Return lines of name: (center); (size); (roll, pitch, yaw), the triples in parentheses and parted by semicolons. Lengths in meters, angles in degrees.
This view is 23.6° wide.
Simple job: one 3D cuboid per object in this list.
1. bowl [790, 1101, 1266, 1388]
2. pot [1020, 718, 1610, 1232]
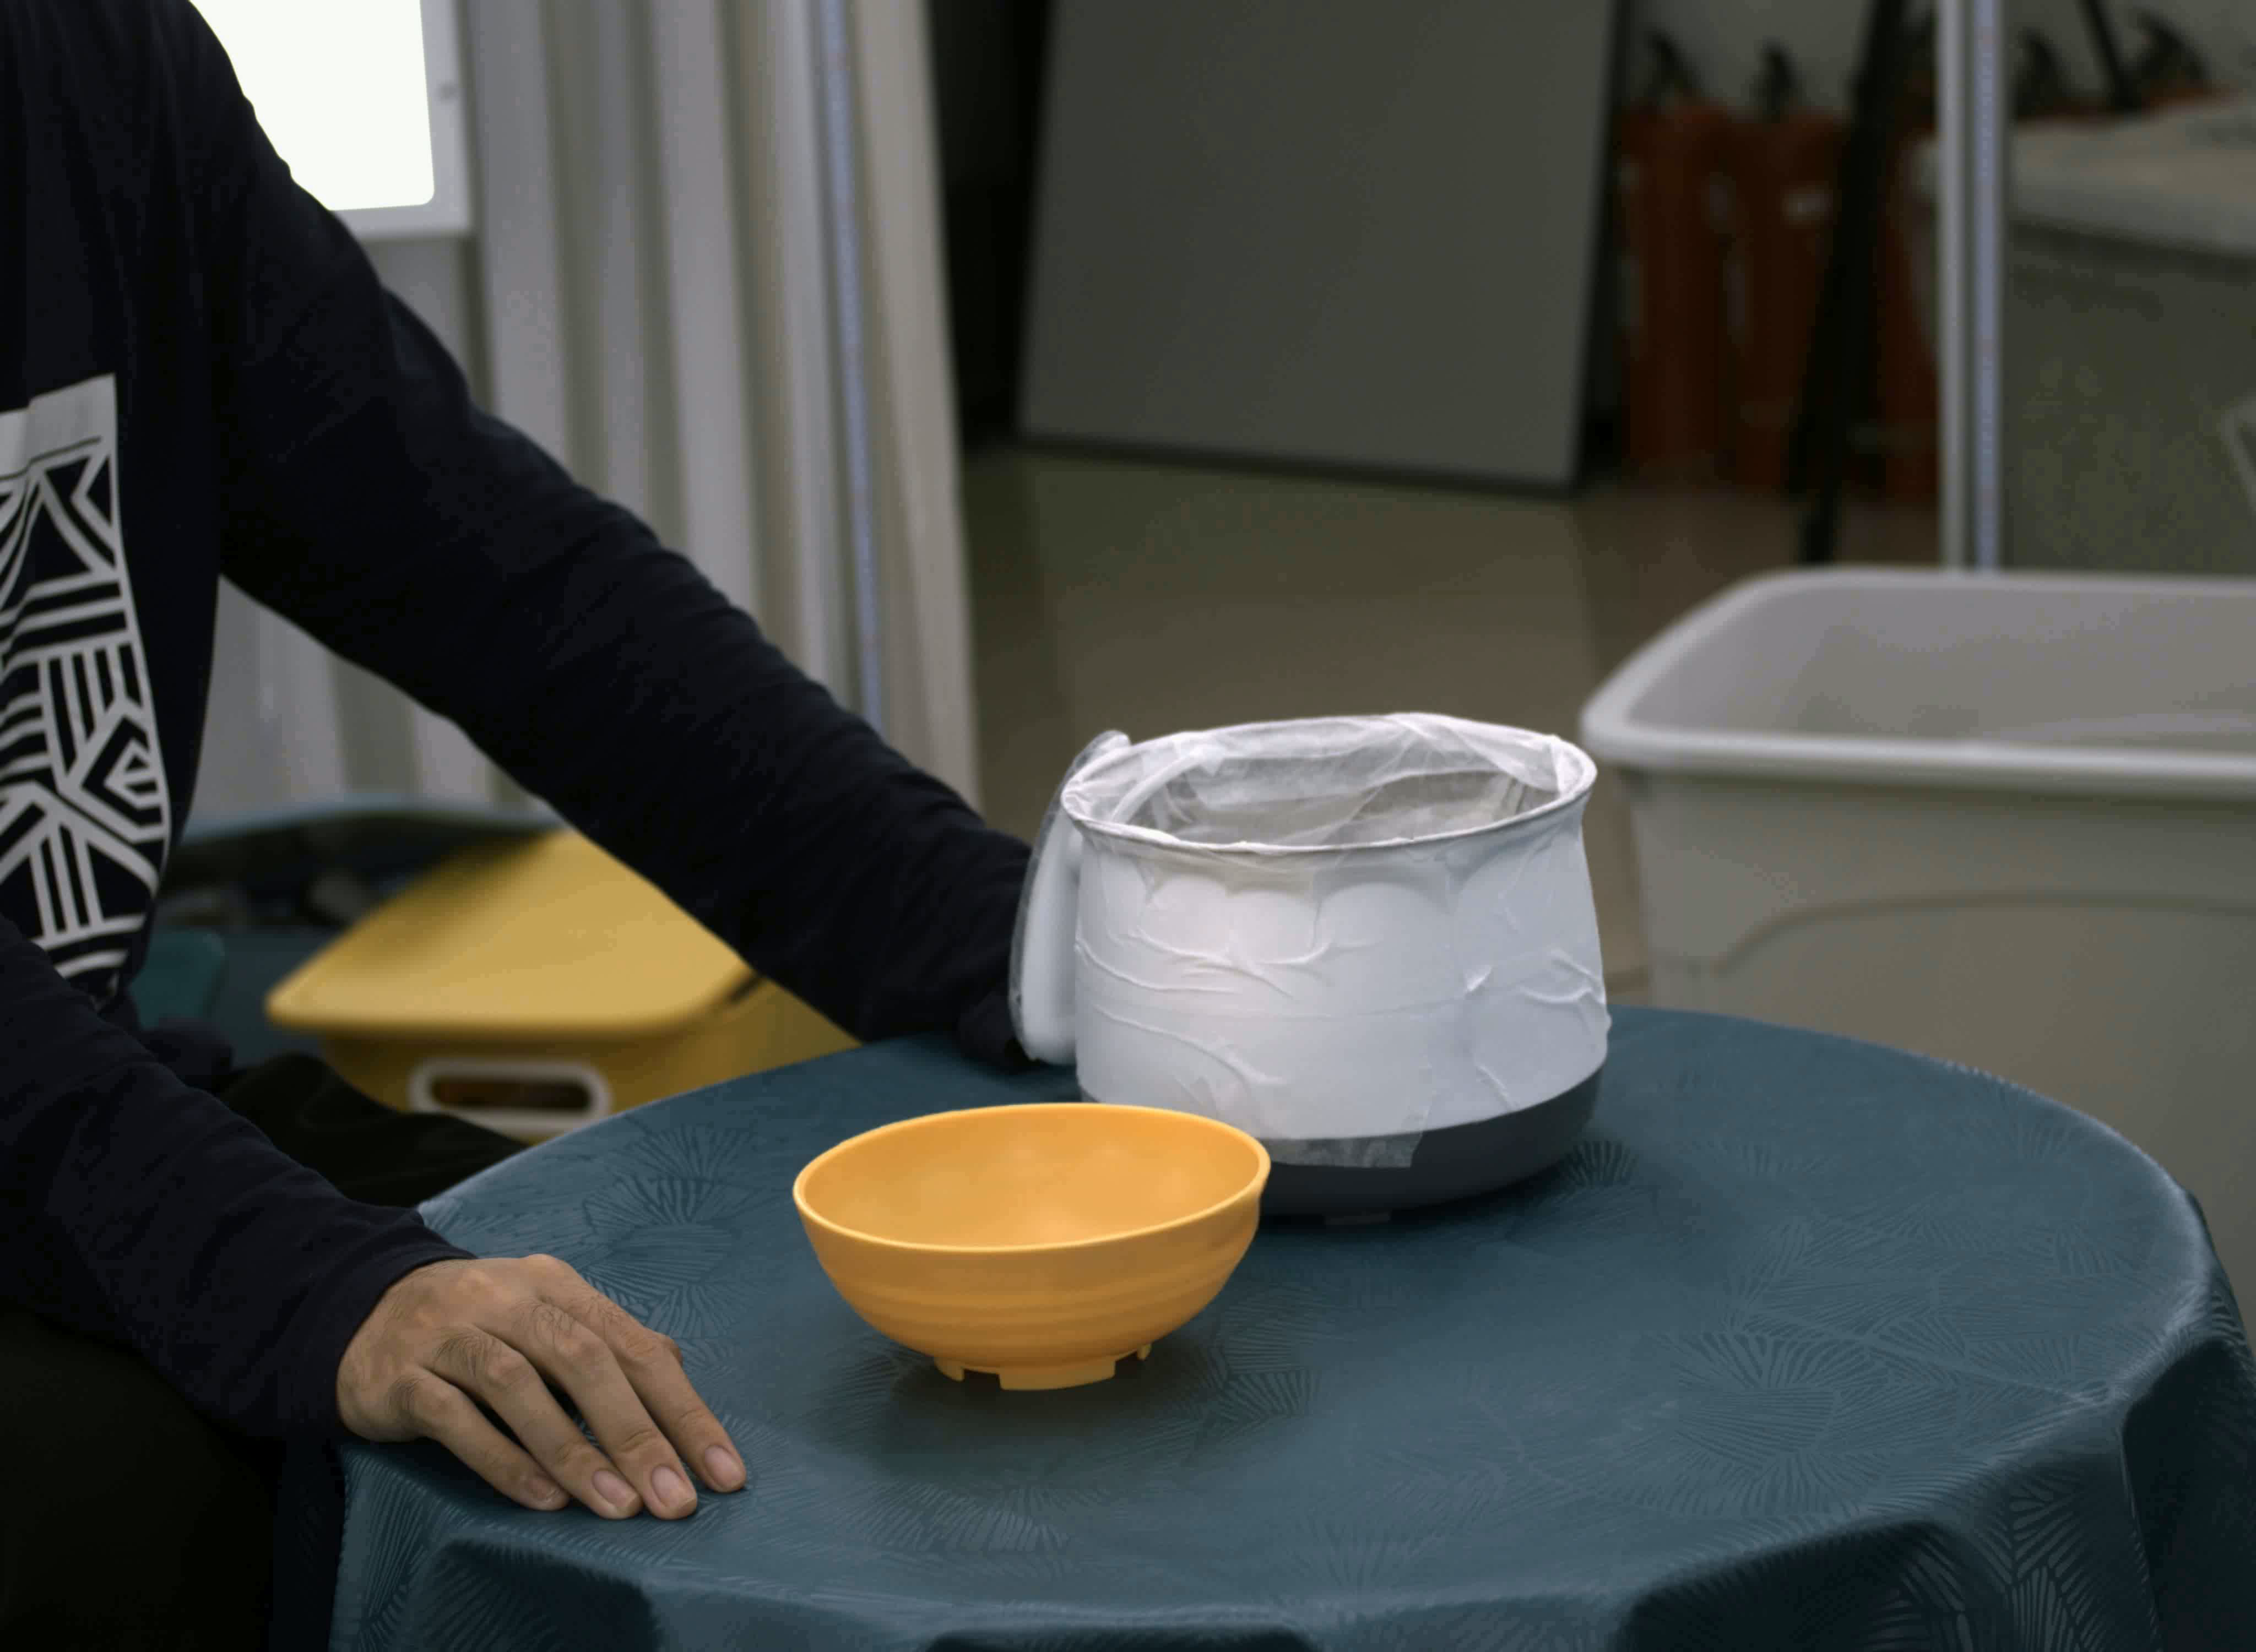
bowl: (-0.029, 0.130, 1.616); (0.143, 0.061, 0.145); (-2, 13, 0)
pot: (0.050, 0.044, 1.795); (0.236, 0.138, 0.175); (7, 17, 44)
